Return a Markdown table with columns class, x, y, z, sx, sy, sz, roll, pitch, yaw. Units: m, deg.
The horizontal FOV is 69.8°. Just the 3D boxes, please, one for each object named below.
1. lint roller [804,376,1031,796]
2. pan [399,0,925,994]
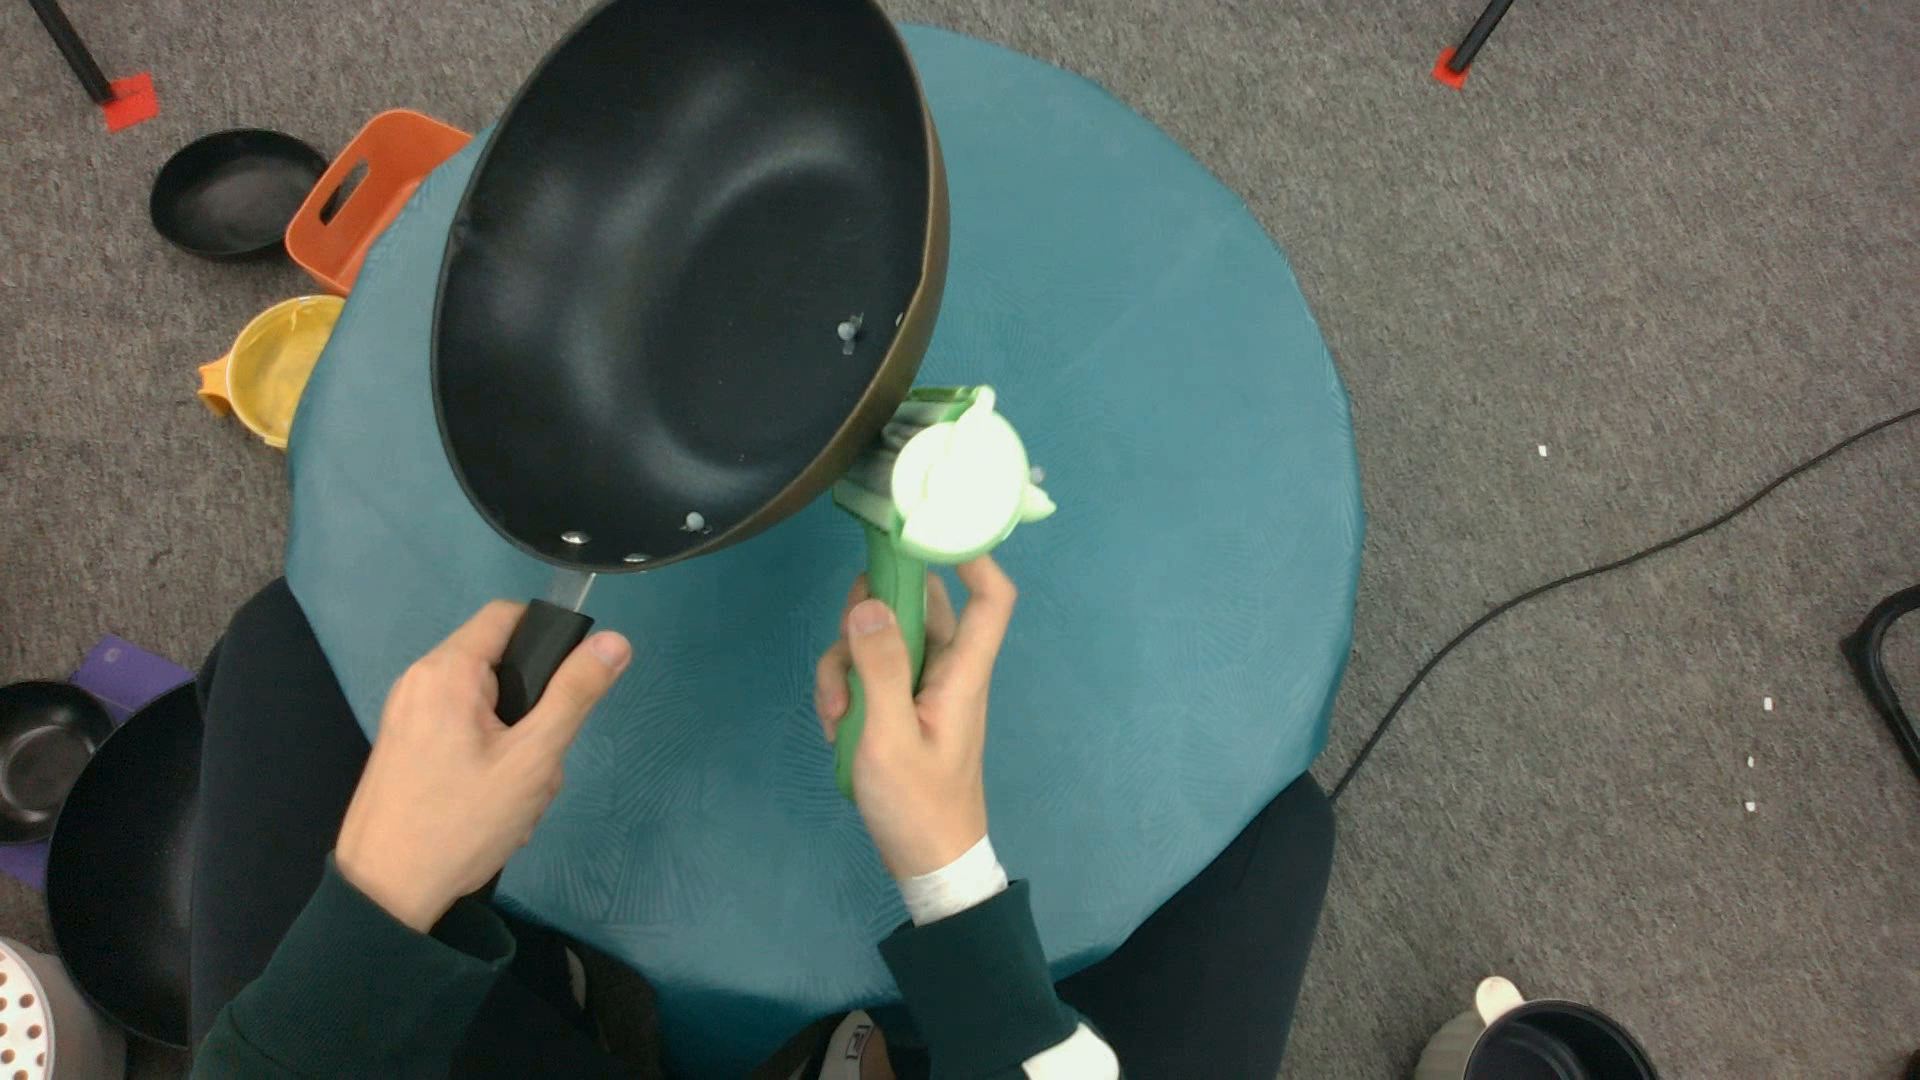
| class | x | y | z | sx | sy | sz | roll | pitch | yaw |
| --- | --- | --- | --- | --- | --- | --- | --- | --- | --- |
| lint roller | -0.023 | 0.021 | 0.609 | 0.082 | 0.198 | 0.183 | -4 | 98 | -13 |
| pan | -0.145 | -0.032 | 0.606 | 0.287 | 0.087 | 0.463 | 13 | 87 | 32 |
